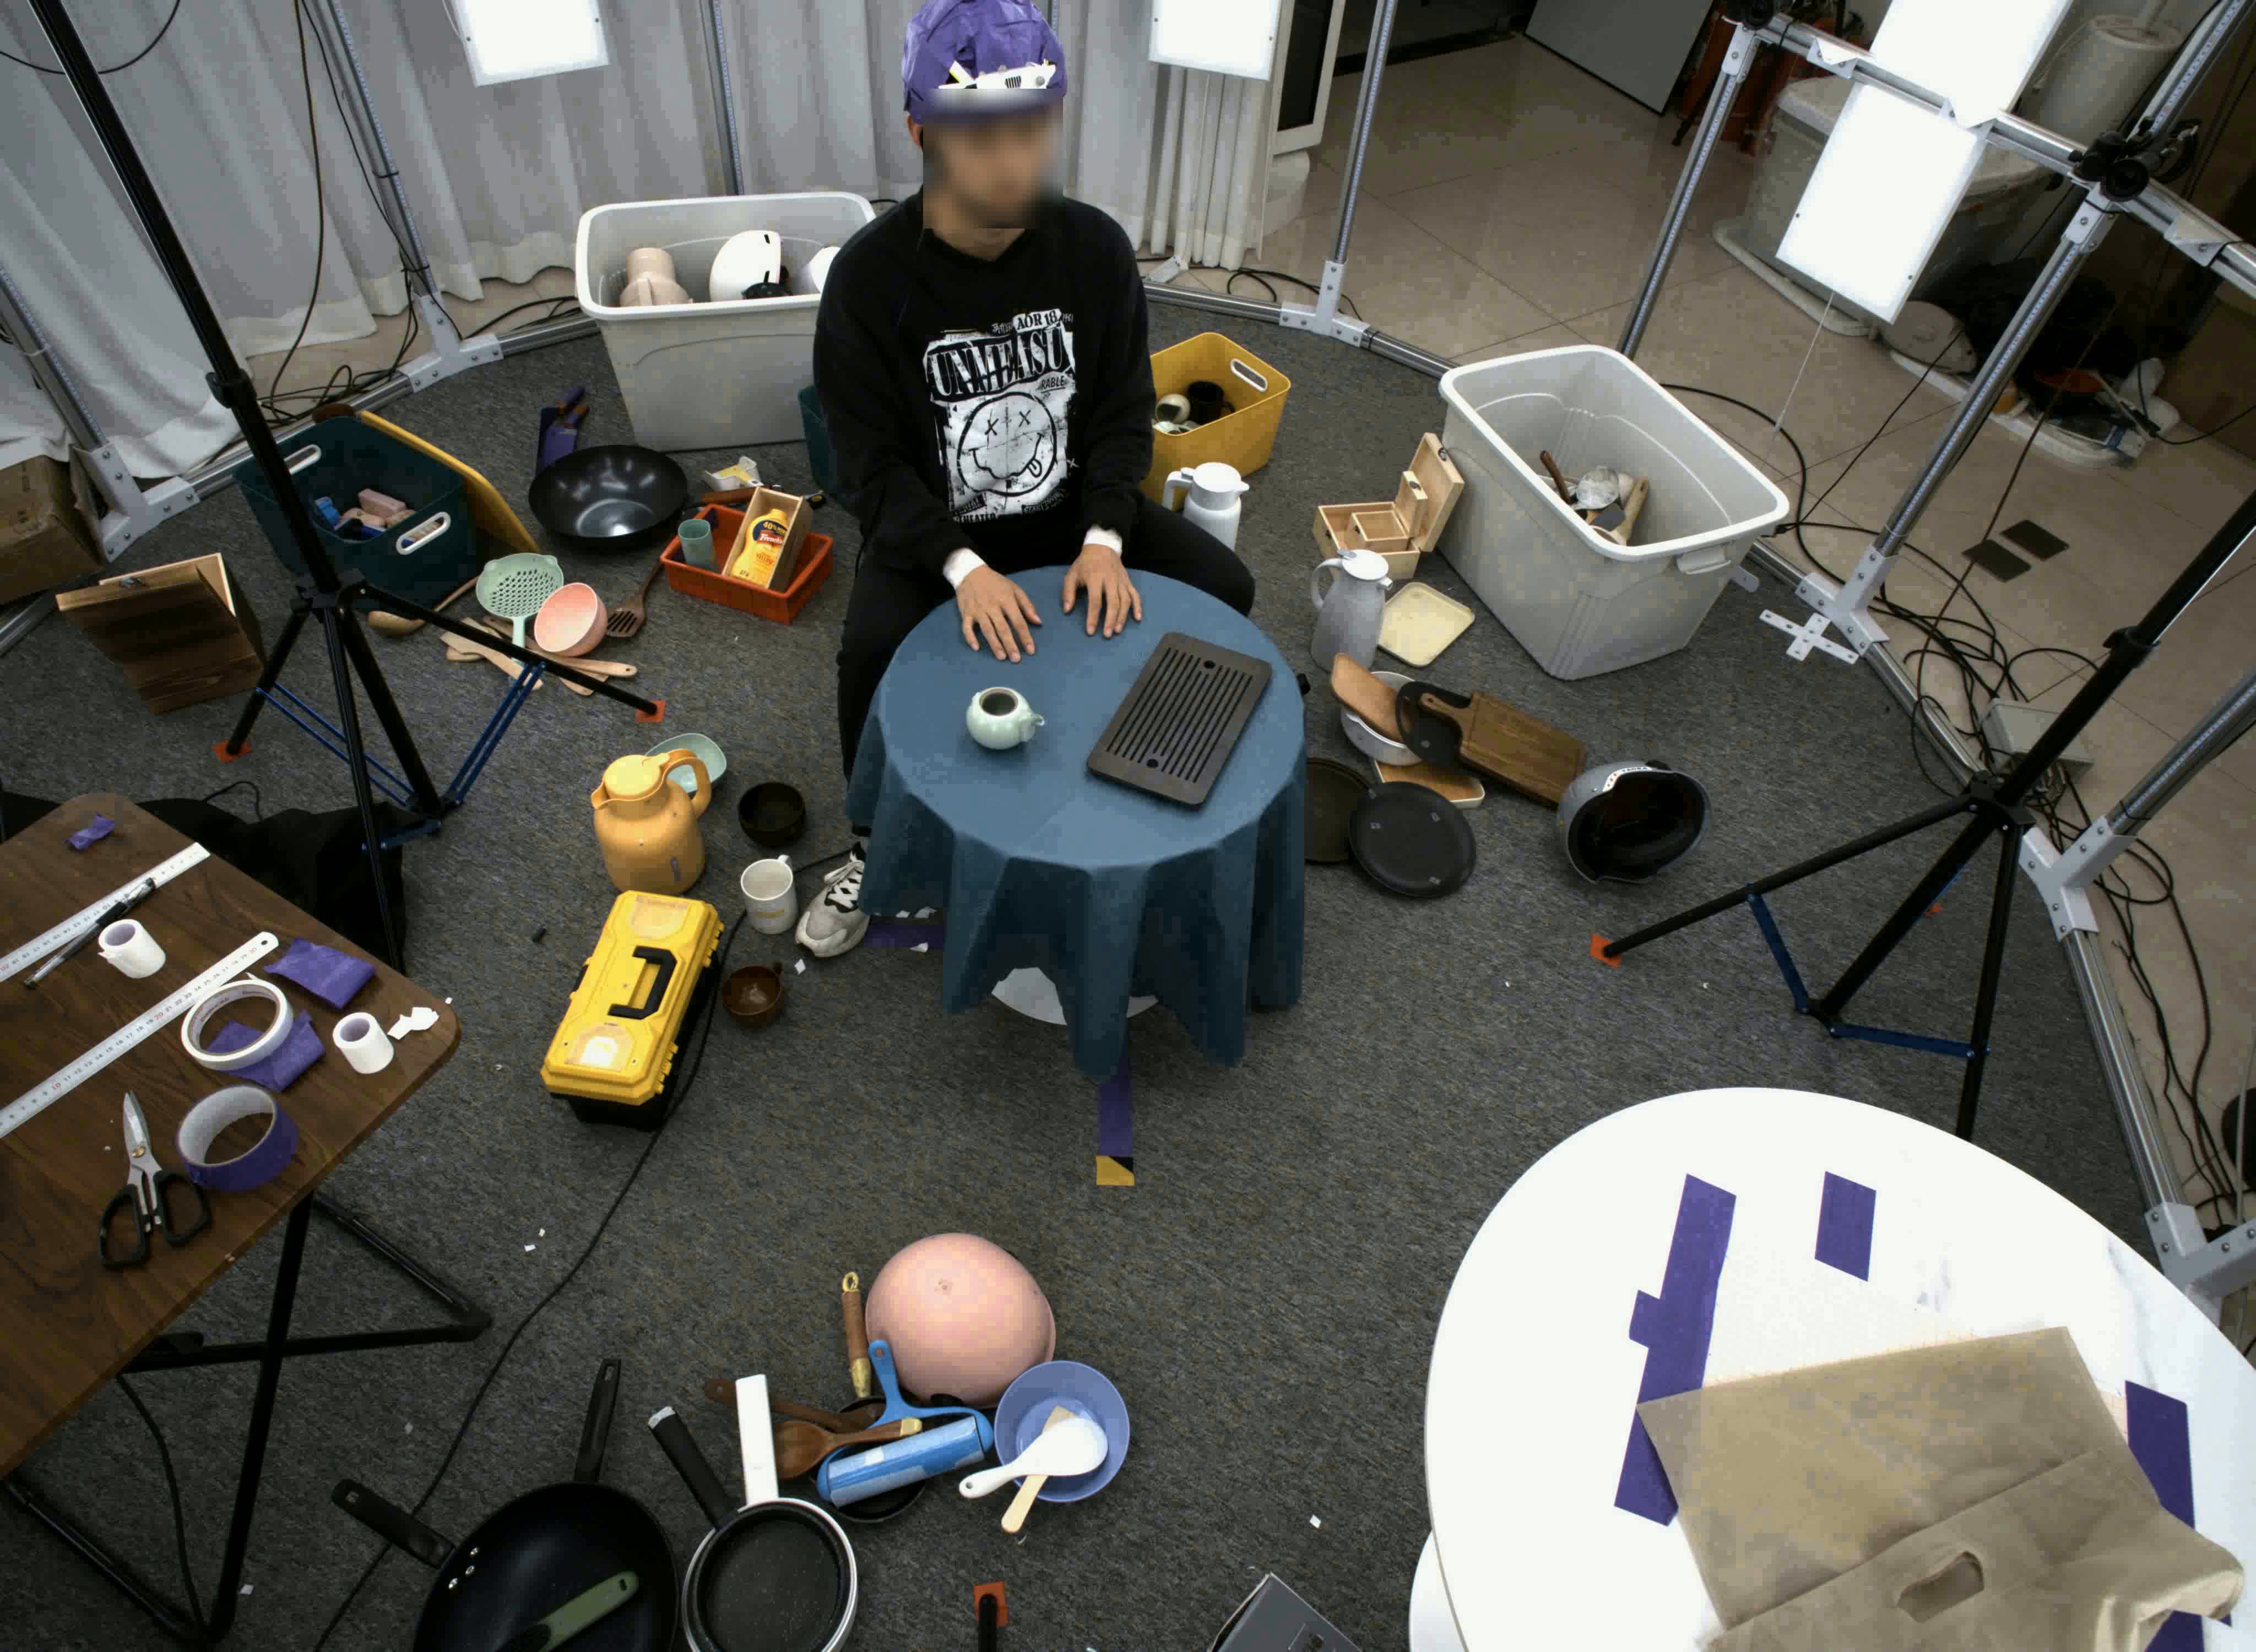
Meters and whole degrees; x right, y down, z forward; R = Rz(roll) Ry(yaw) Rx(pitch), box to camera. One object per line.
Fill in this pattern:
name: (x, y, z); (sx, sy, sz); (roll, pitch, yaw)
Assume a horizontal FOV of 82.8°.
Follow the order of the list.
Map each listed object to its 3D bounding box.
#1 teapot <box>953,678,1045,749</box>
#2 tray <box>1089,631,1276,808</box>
teapot: (-0.175, -0.147, 1.739); (0.145, 0.073, 0.089); (29, 53, 18)
tray: (0.081, -0.153, 1.795); (0.171, 0.018, 0.311); (20, 51, 13)
